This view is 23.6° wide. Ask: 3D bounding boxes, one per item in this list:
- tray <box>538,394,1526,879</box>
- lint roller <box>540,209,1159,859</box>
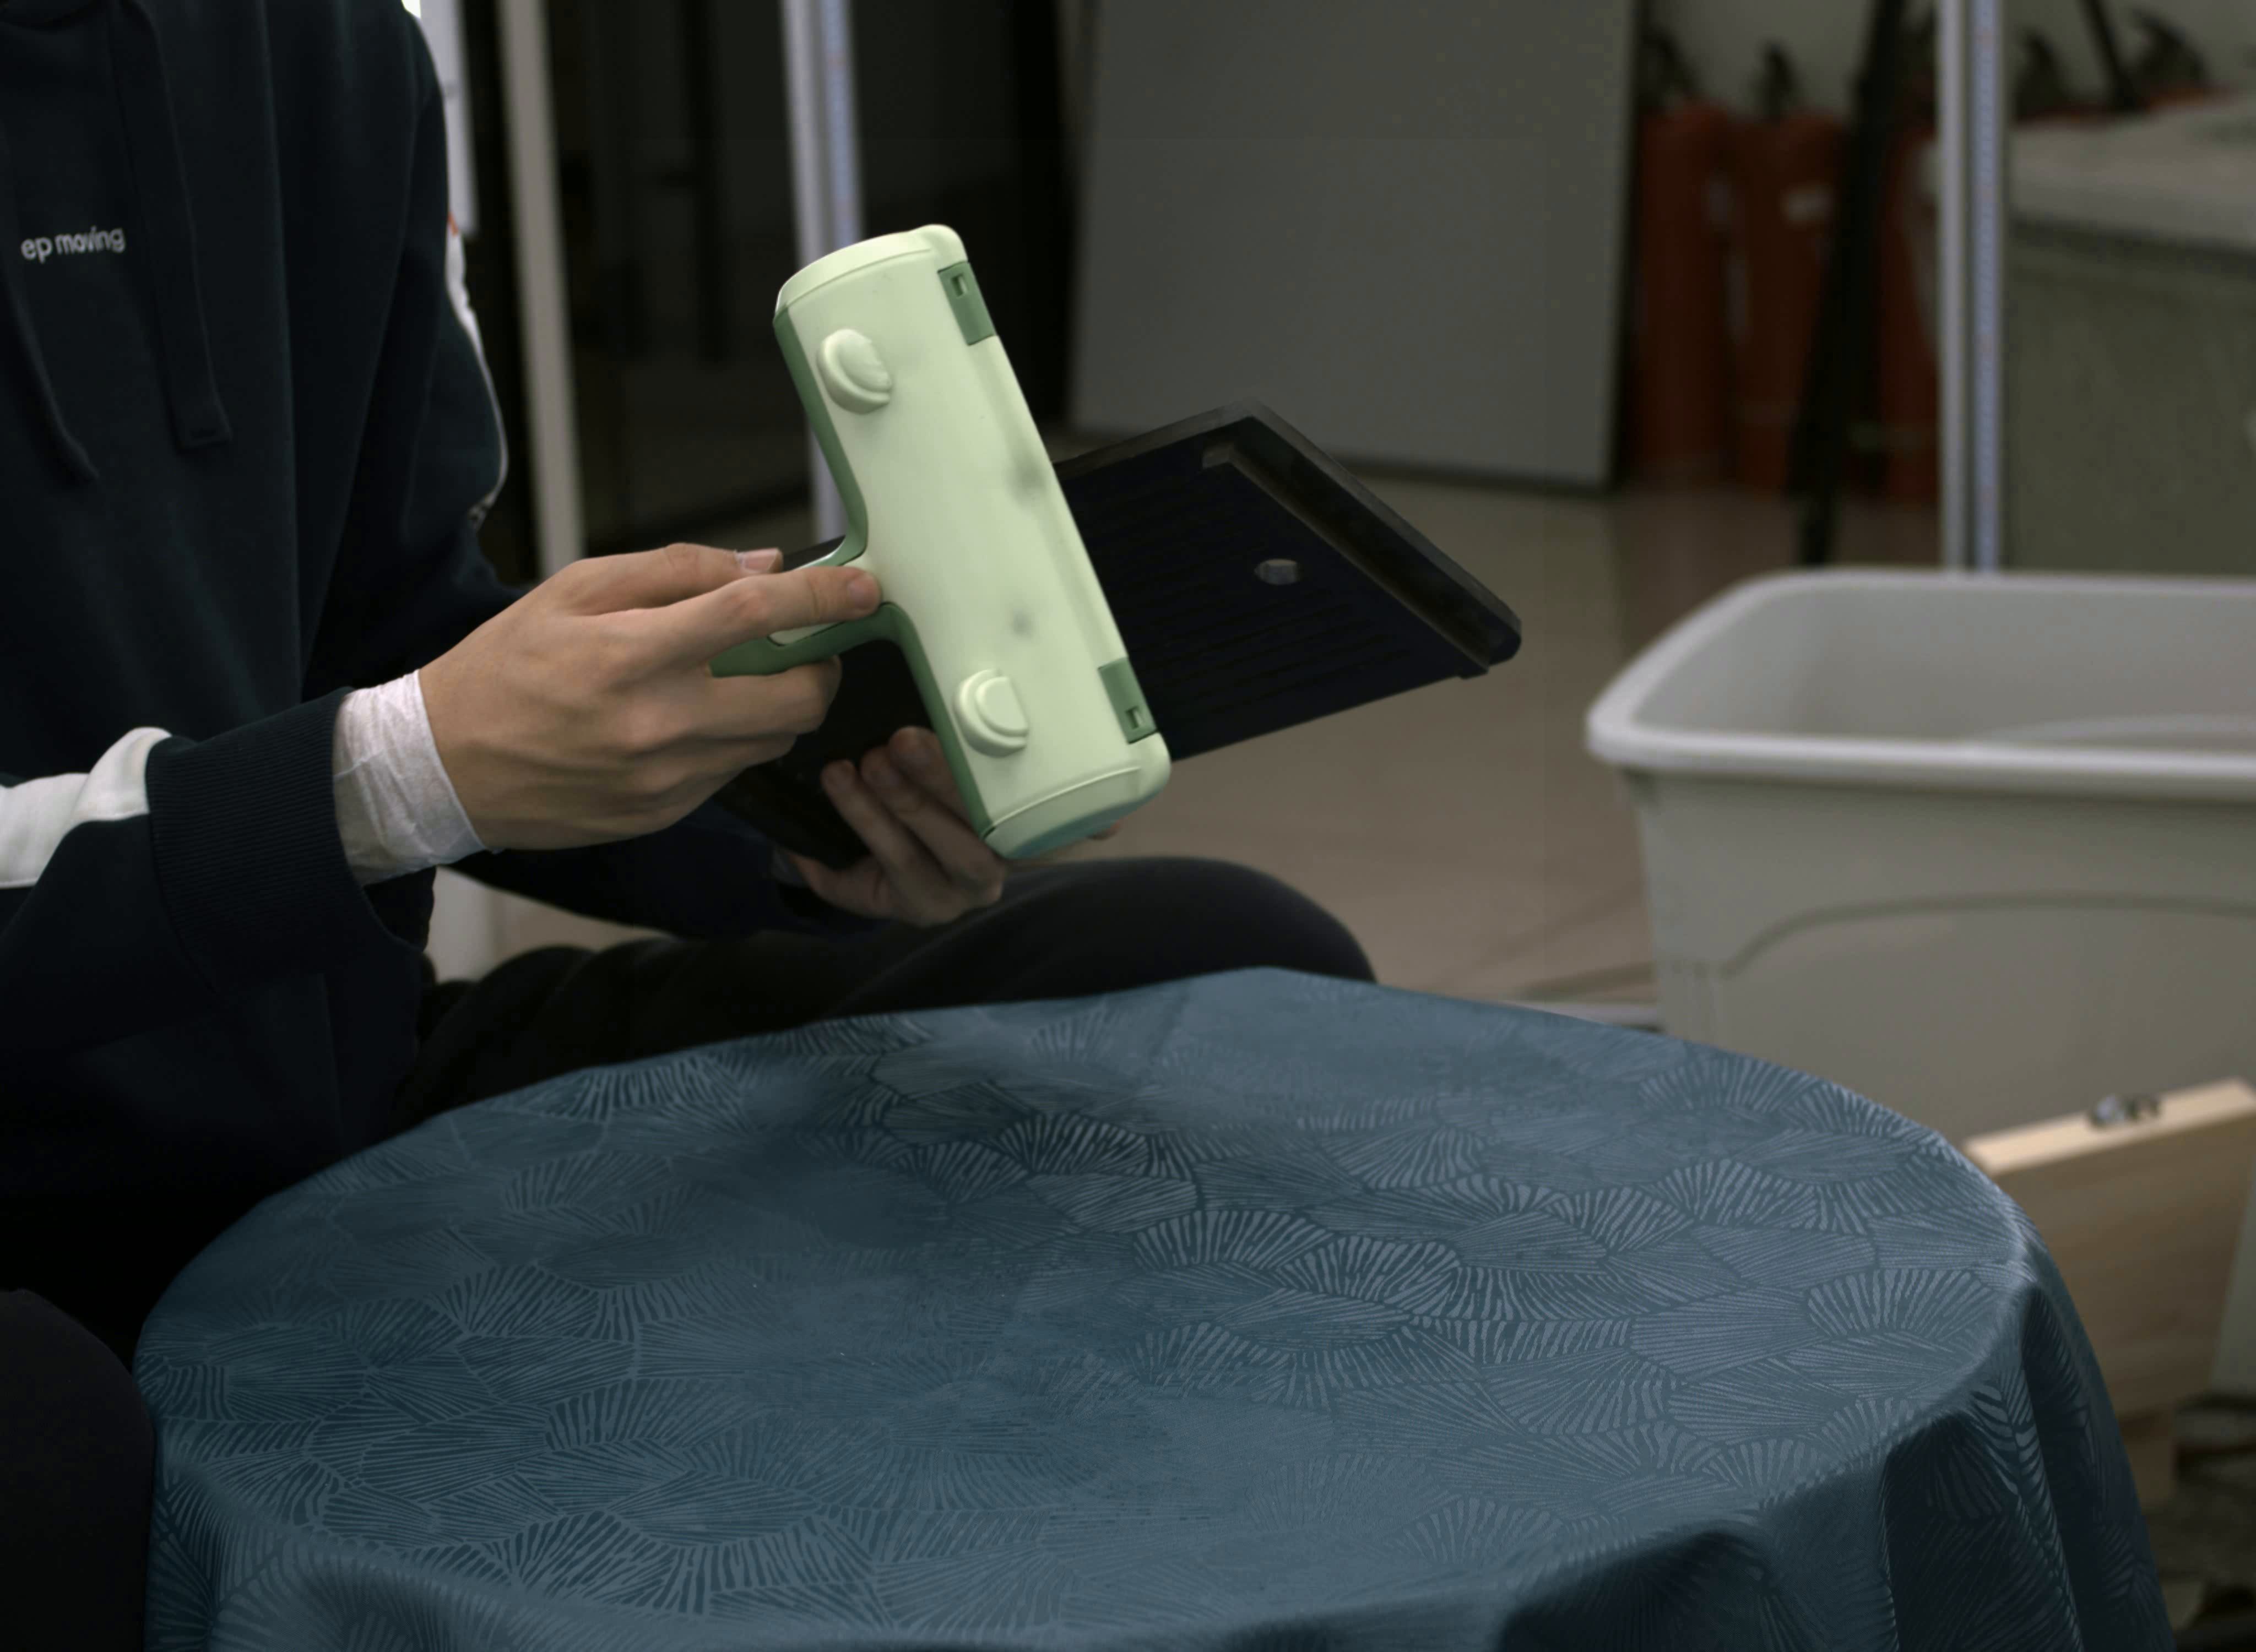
[{"bbox_3d":[-0.034,-0.055,1.797,0.307,0.019,0.167,-18,-36,33],"label":"tray"},{"bbox_3d":[-0.105,-0.069,1.670,0.182,0.201,0.082,-23,-10,6],"label":"lint roller"}]
